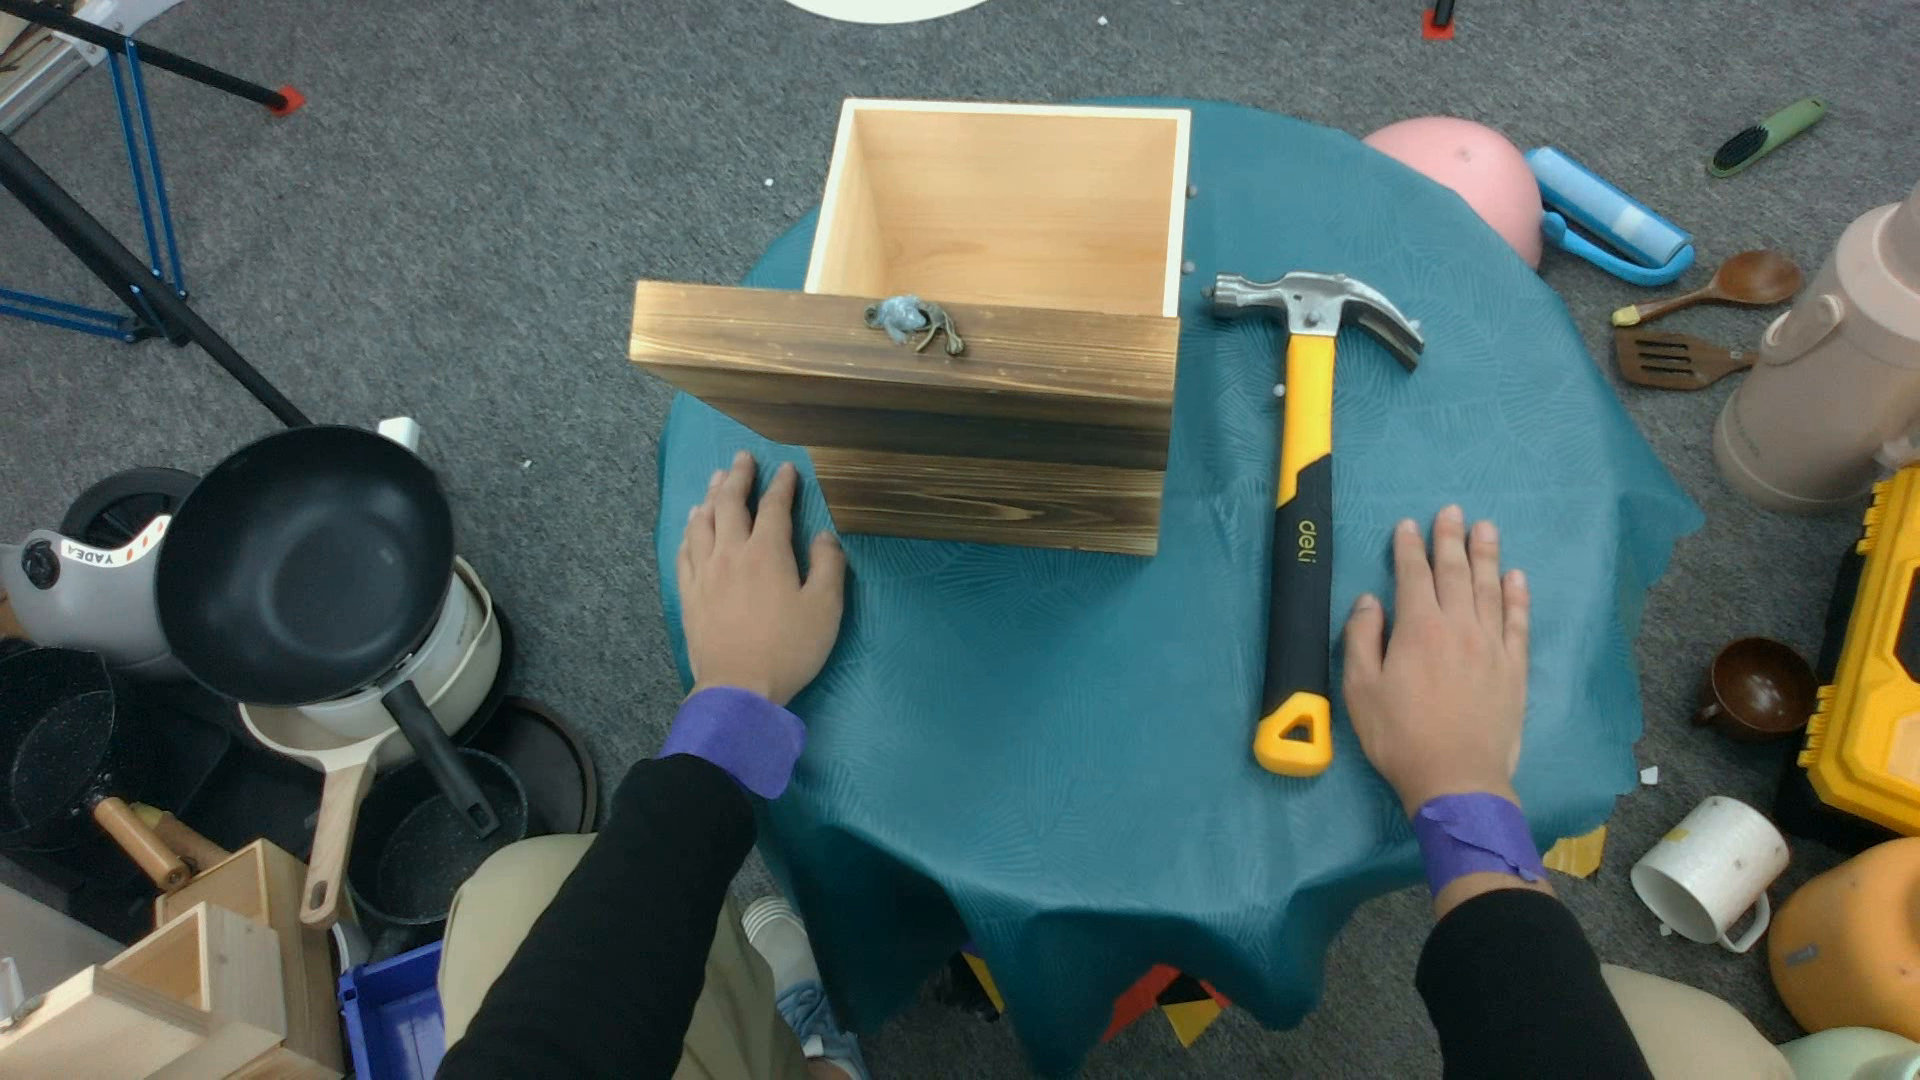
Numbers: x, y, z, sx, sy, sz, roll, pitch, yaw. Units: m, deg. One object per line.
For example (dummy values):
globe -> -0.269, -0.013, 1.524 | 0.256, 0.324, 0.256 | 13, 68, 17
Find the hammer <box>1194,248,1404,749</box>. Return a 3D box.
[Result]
hammer -> 0.198, -0.037, 0.827 | 0.131, 0.032, 0.340 | 5, 62, 8

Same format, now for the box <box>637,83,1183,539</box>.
box -> 0.005, -0.131, 0.715 | 0.208, 0.374, 0.323 | 4, 64, 7
